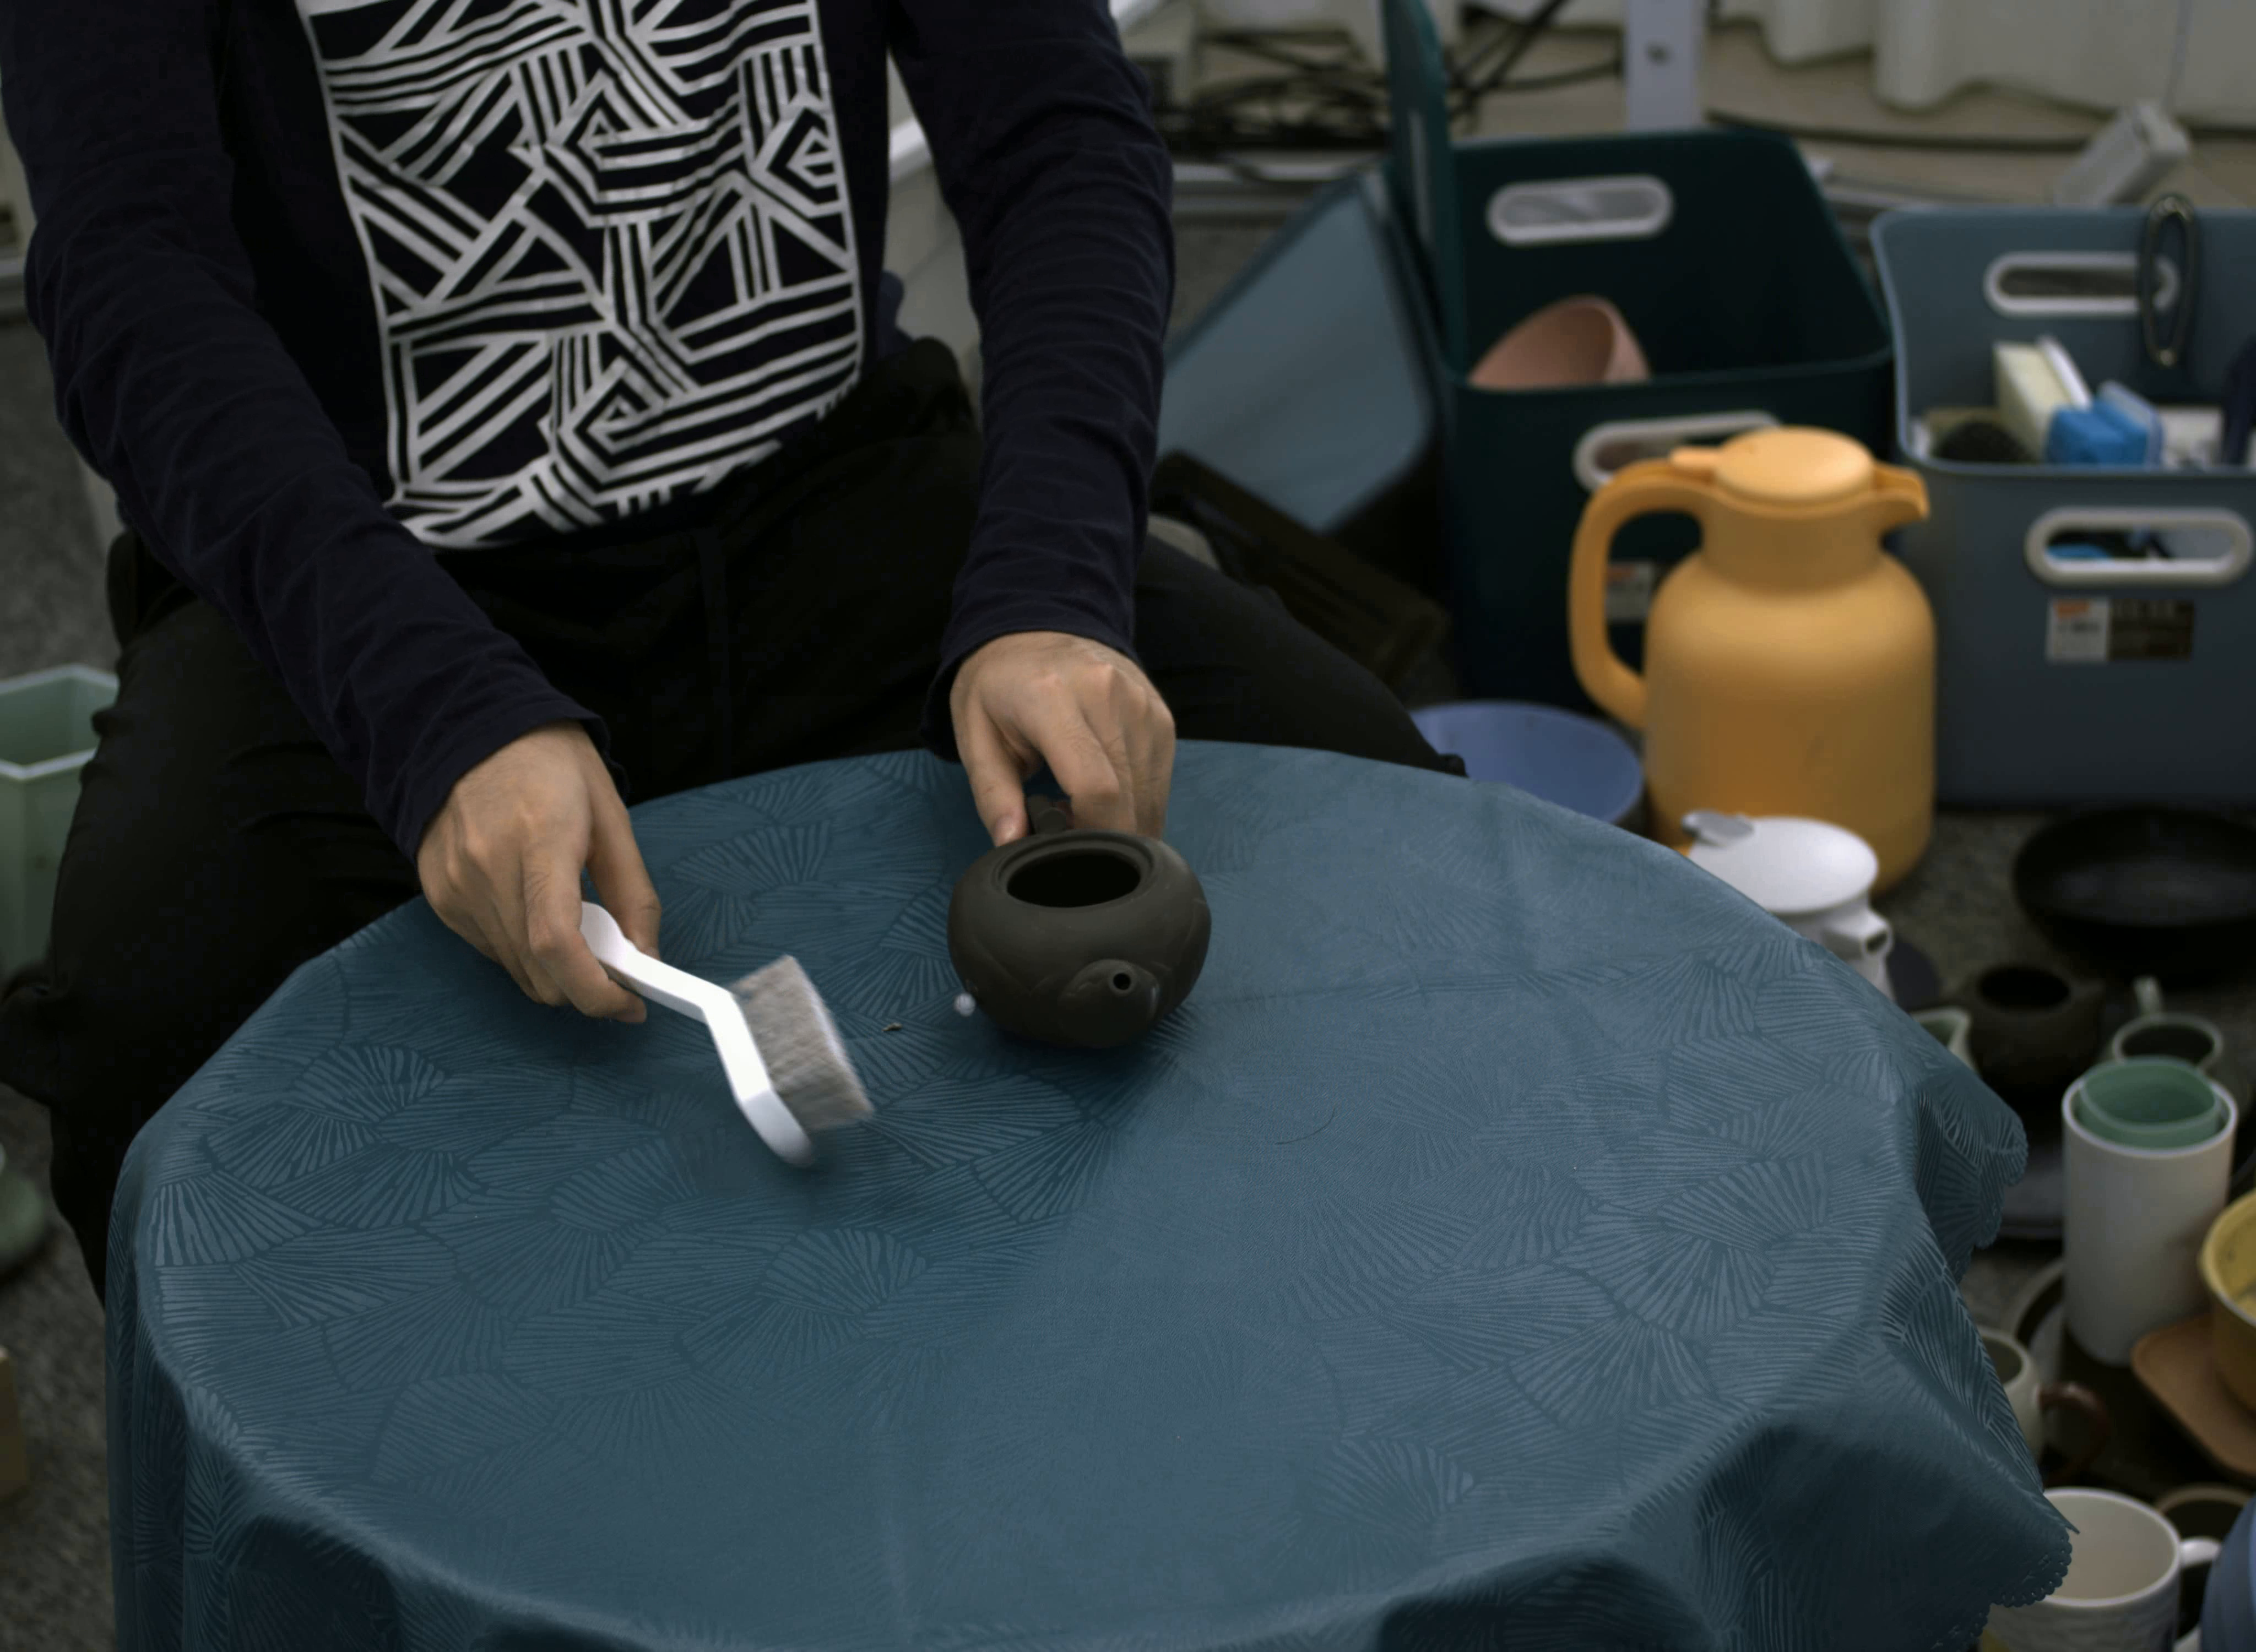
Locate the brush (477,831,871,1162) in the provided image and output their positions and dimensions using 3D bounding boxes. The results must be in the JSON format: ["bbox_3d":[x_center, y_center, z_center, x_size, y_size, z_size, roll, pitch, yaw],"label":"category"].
[{"bbox_3d":[-0.157,0.043,1.941,0.050,0.034,0.245,-45,40,-4],"label":"brush"}]

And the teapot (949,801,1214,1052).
[{"bbox_3d":[-0.017,0.038,1.957,0.092,0.064,0.156,-9,27,-8],"label":"teapot"}]
